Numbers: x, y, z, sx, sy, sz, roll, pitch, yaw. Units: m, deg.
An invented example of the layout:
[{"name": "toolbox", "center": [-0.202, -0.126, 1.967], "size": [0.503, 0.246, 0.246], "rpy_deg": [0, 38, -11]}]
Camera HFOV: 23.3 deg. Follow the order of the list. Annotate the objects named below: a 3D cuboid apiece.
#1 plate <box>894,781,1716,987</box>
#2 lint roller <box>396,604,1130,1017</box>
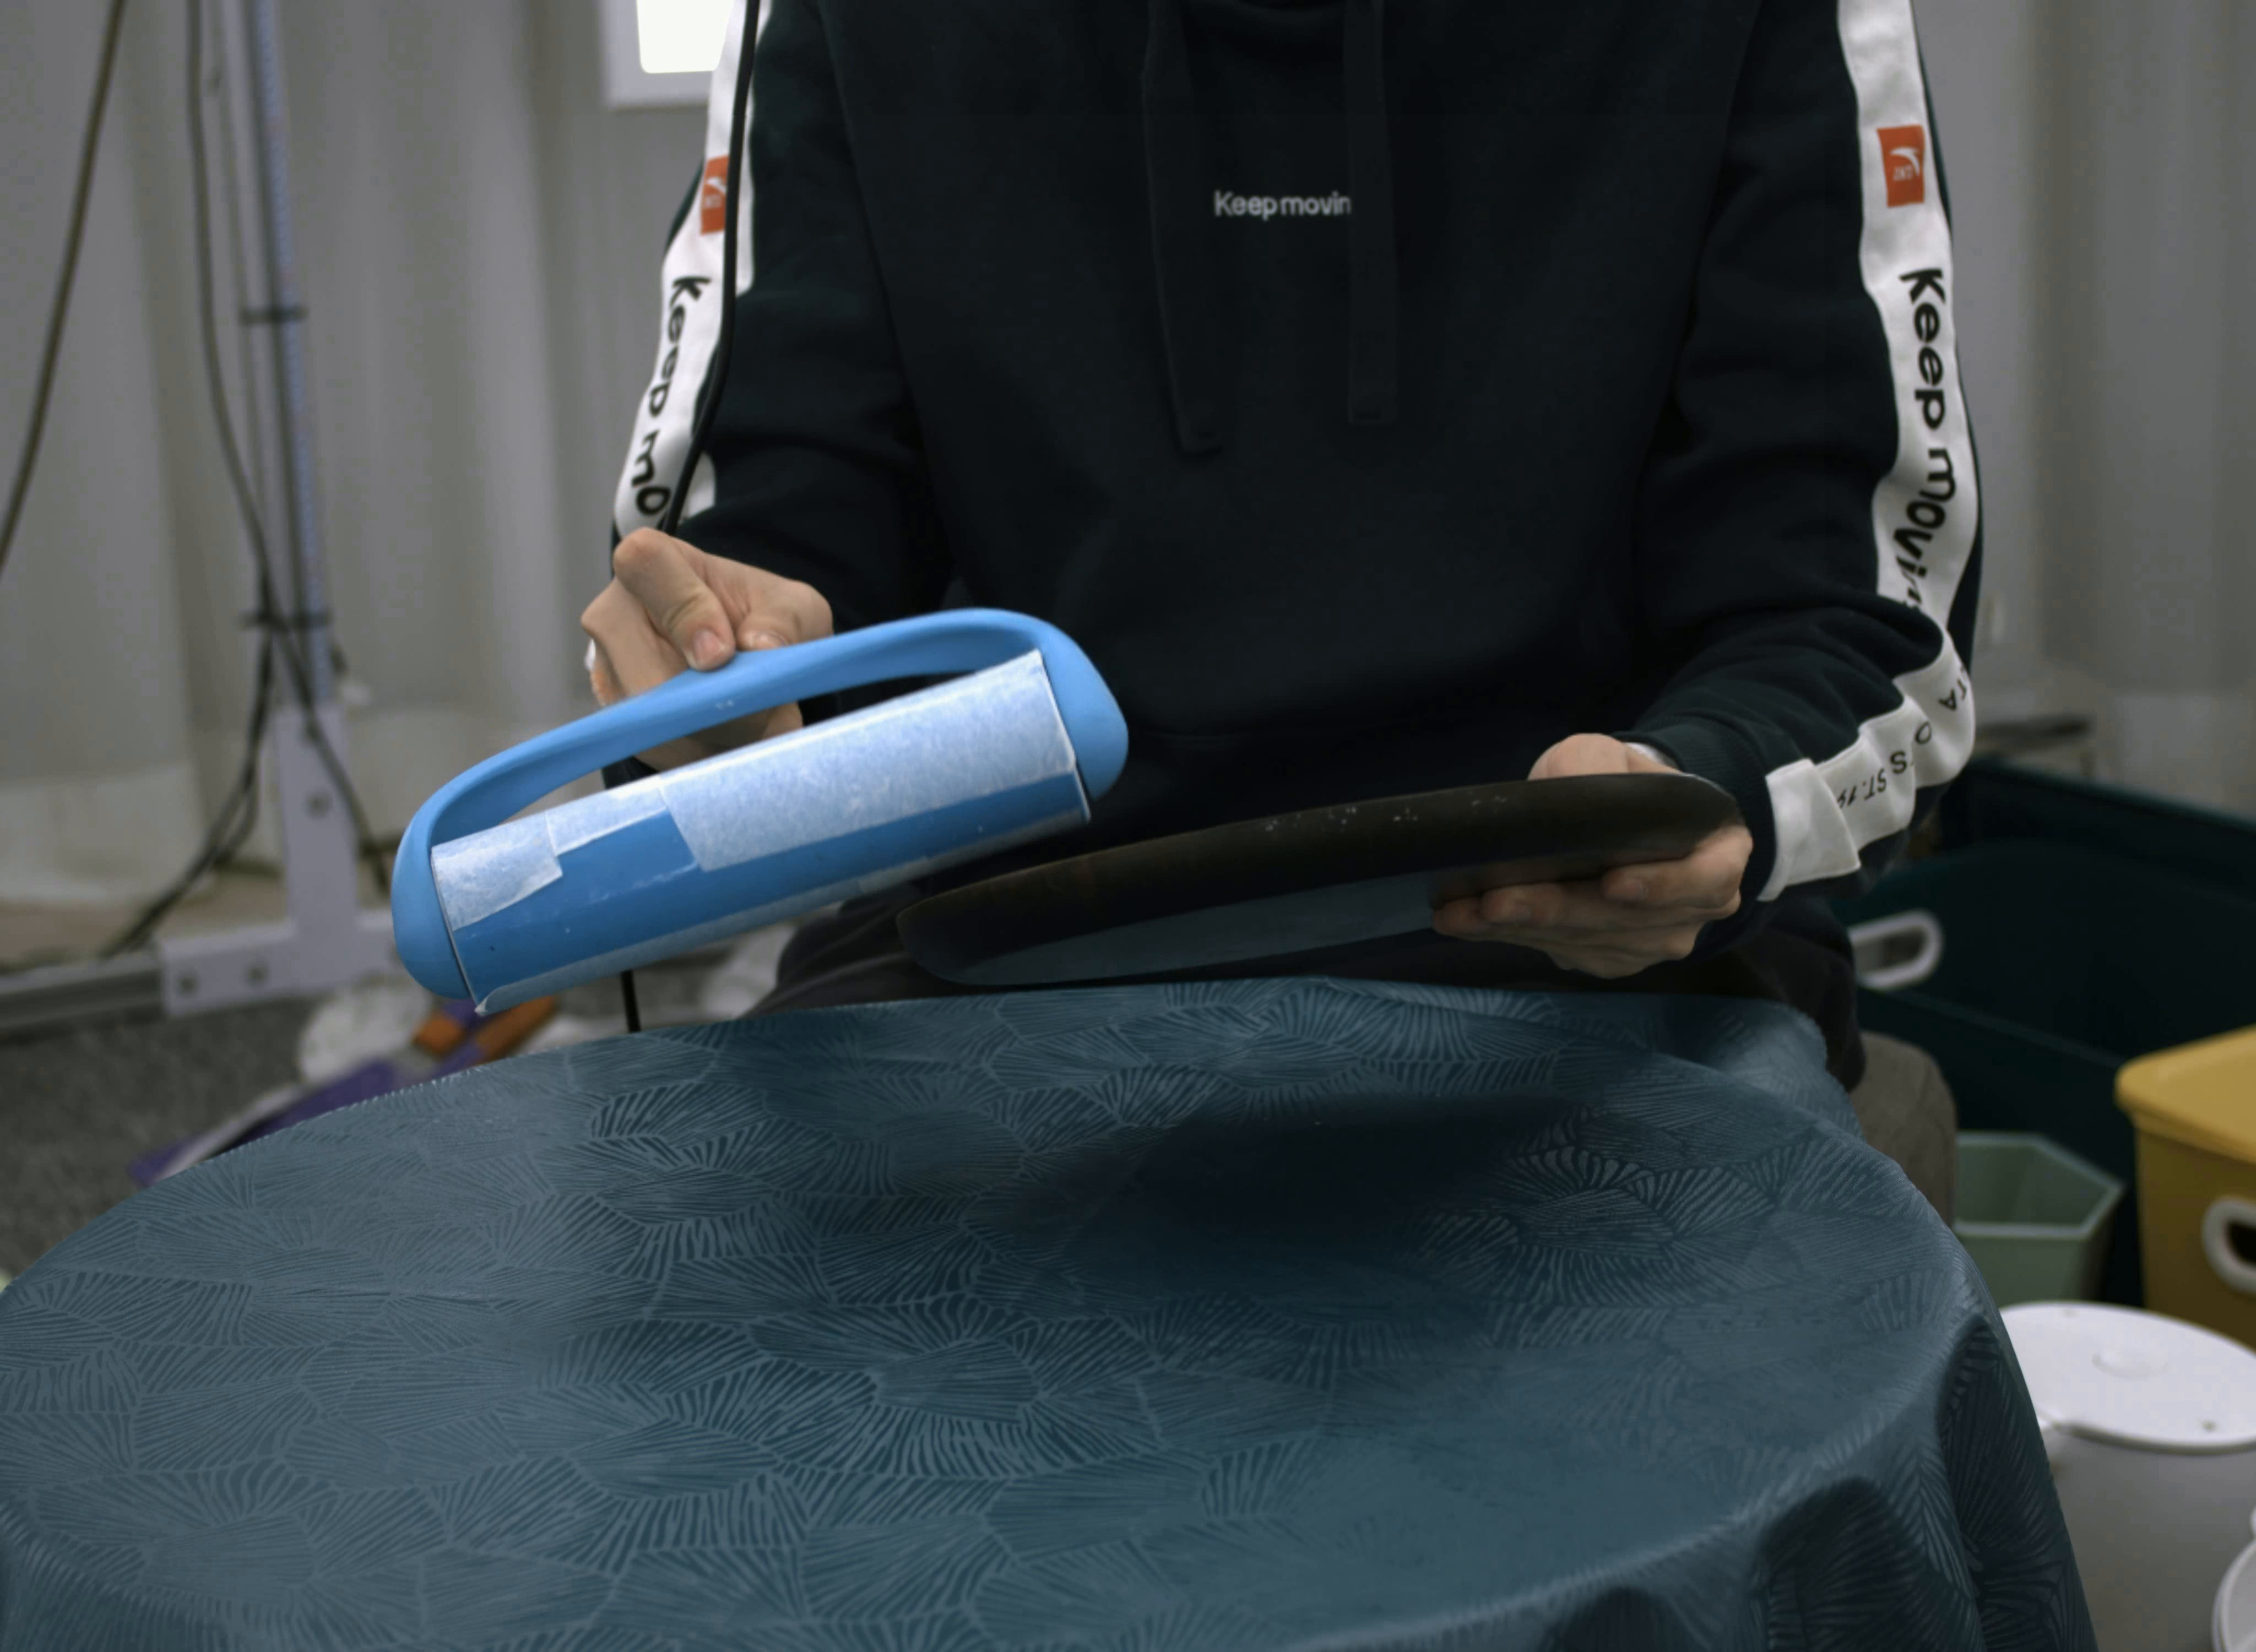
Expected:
[{"name": "plate", "center": [0.054, 0.019, 1.670], "size": [0.254, 0.029, 0.254], "rpy_deg": [-9, -5, -1]}, {"name": "lint roller", "center": [-0.121, -0.021, 1.699], "size": [0.228, 0.067, 0.182], "rpy_deg": [-21, 24, -3]}]
